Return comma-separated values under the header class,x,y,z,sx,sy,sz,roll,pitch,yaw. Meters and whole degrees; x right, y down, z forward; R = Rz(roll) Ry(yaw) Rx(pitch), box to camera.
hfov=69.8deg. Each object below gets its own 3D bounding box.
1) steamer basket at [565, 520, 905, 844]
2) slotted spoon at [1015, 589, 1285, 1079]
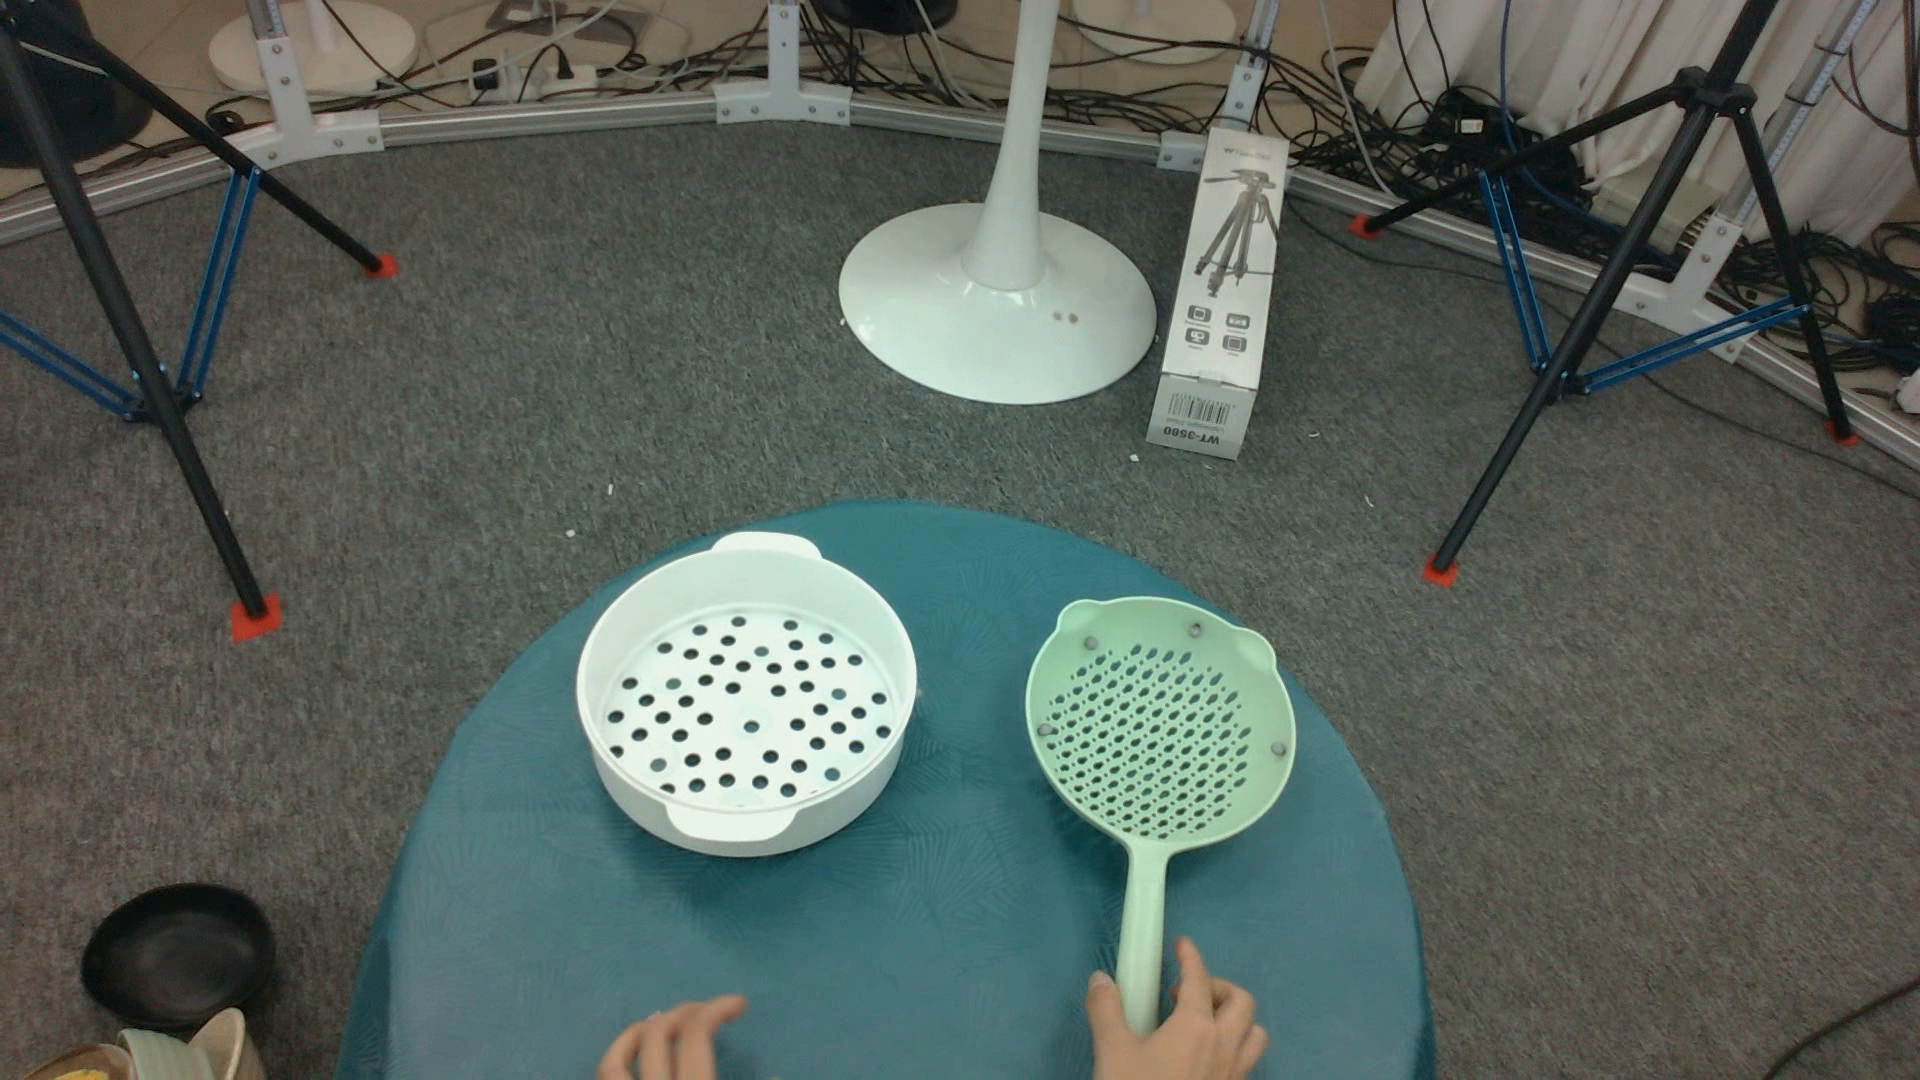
class,x,y,z,sx,sy,sz,roll,pitch,yaw
steamer basket,-0.137,0.091,0.851,0.202,0.069,0.231,3,47,-5
slotted spoon,0.101,0.187,0.800,0.169,0.075,0.360,11,47,1
